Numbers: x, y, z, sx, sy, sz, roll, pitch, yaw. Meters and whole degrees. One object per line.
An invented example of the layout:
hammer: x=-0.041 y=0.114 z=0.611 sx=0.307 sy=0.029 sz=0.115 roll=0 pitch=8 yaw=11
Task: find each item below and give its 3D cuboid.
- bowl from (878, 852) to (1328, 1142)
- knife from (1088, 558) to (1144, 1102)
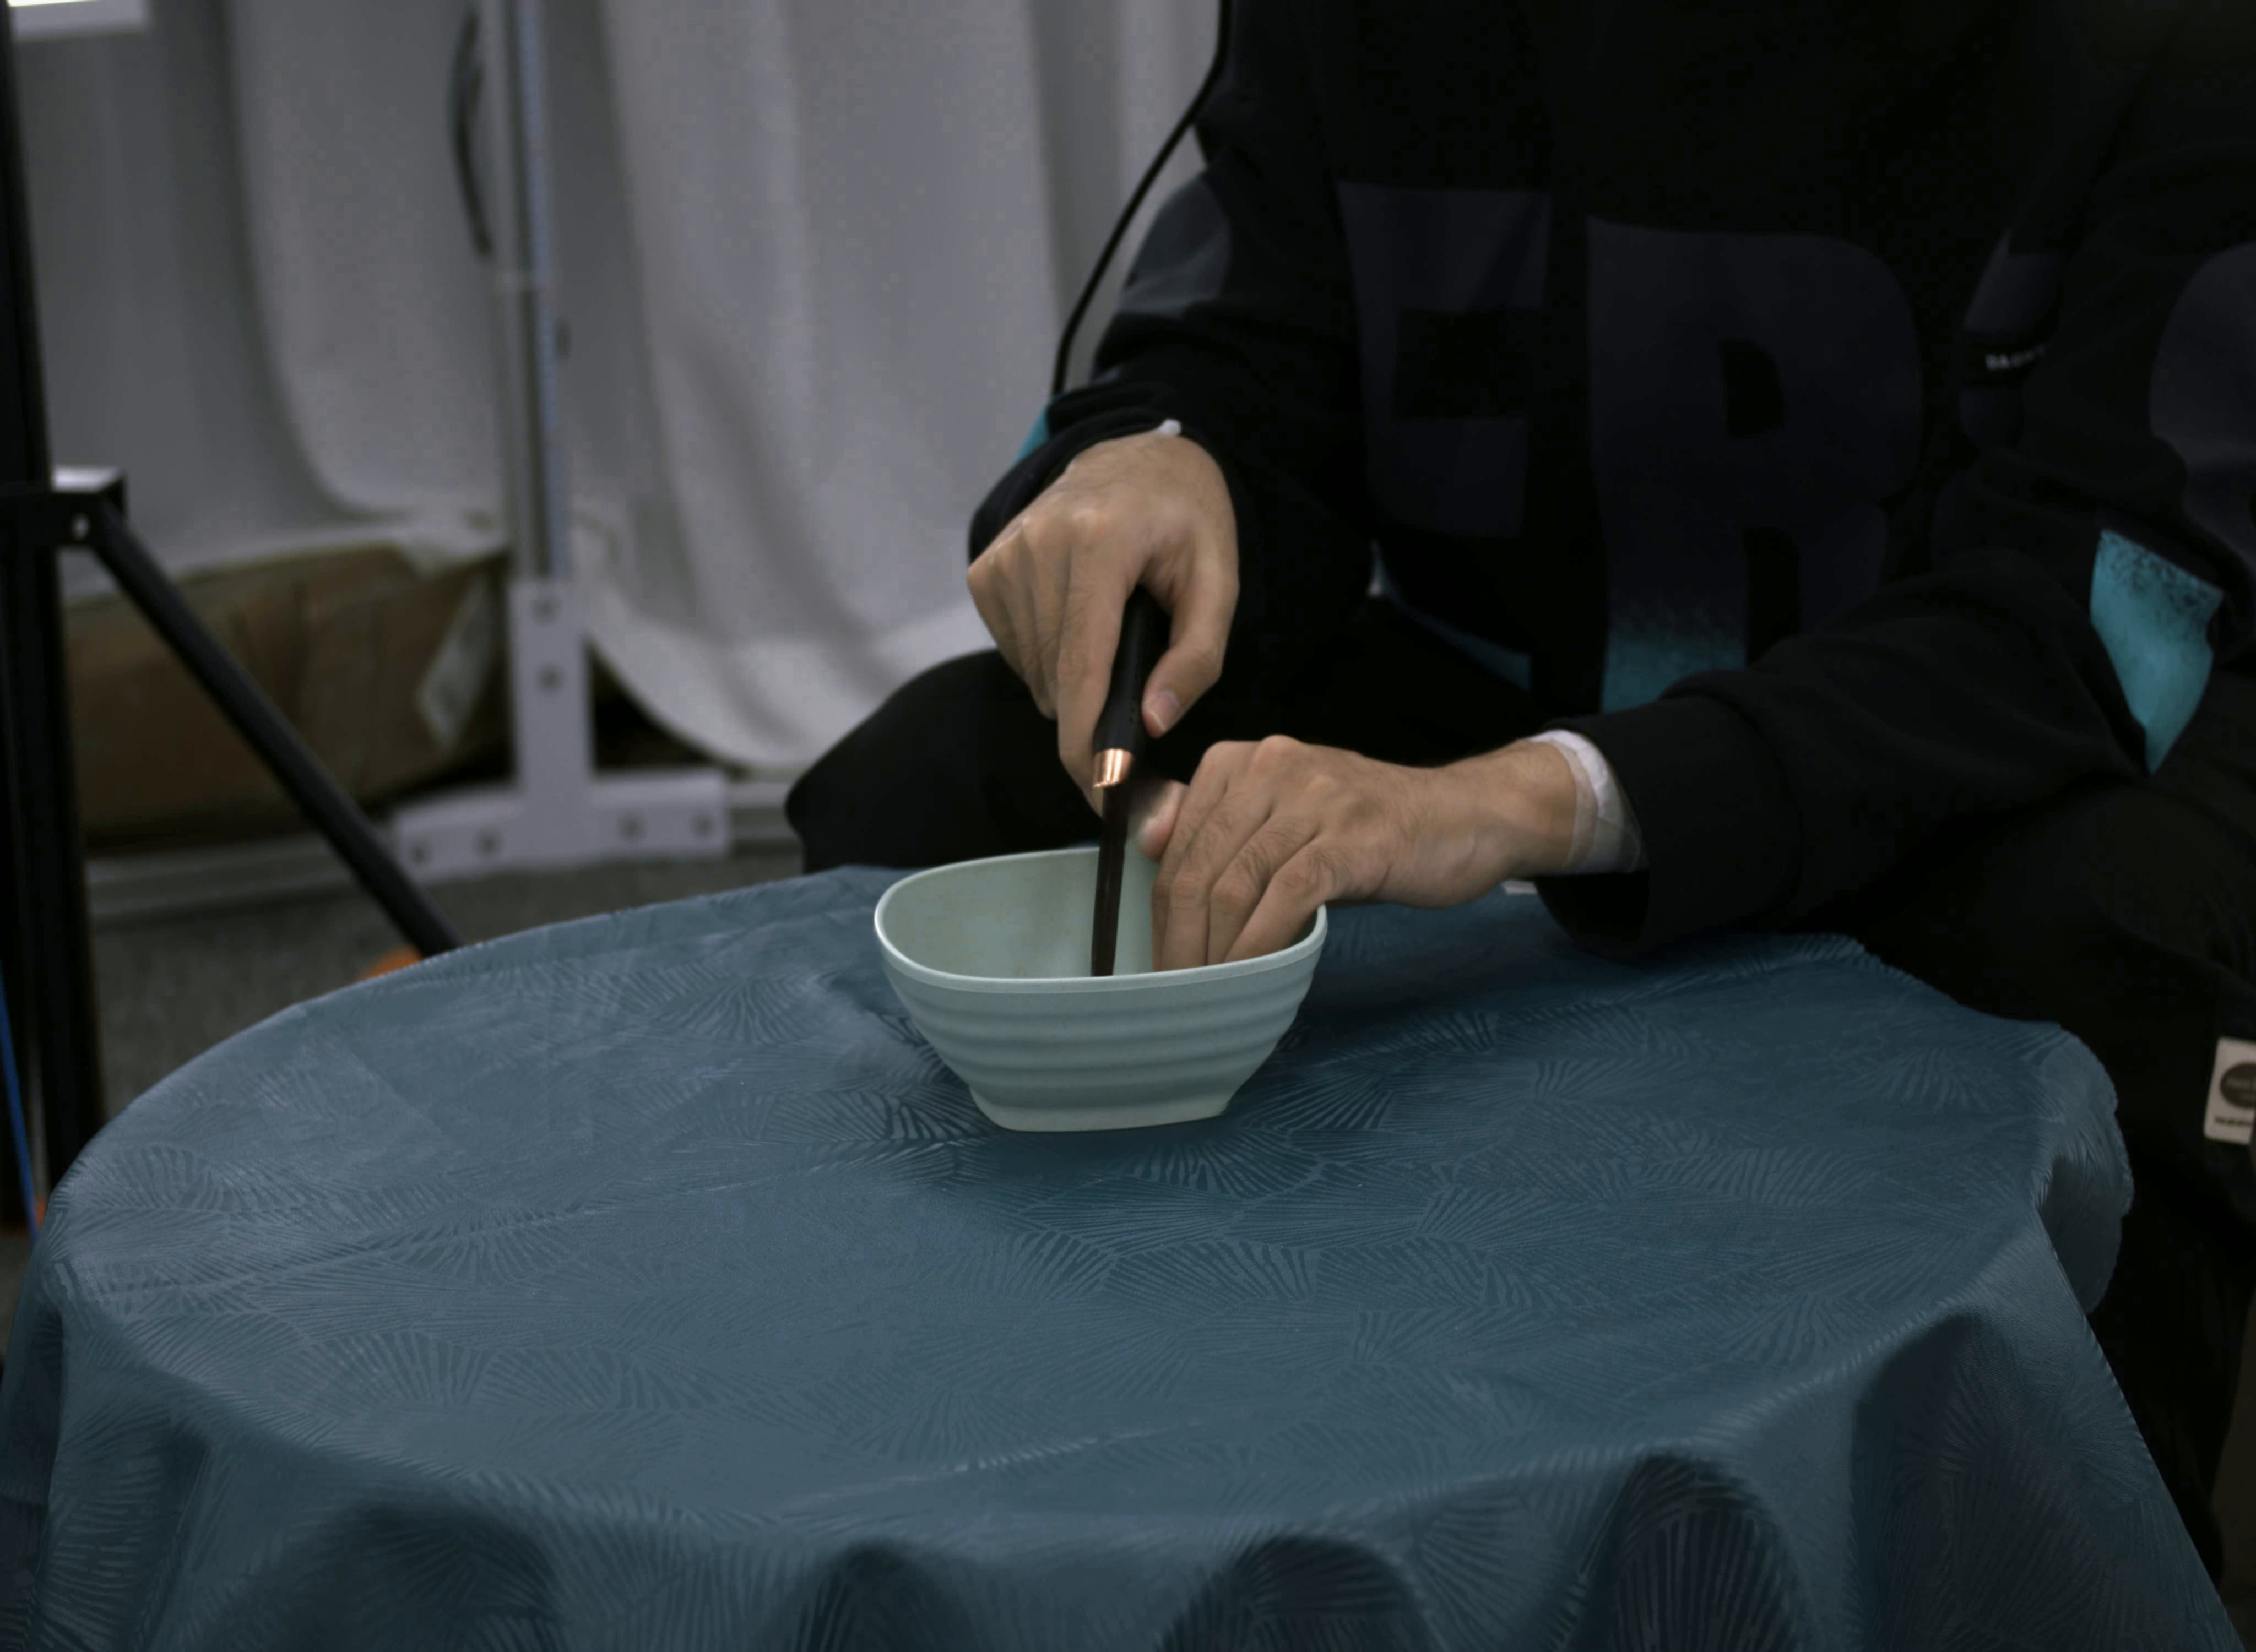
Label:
bowl: x=-0.006 y=0.056 z=1.645 sx=0.151 sy=0.058 sz=0.152 roll=-4 pitch=16 yaw=0
knife: x=-0.005 y=-0.002 z=1.685 sx=0.017 sy=0.026 sz=0.227 roll=-7 pitch=45 yaw=9
